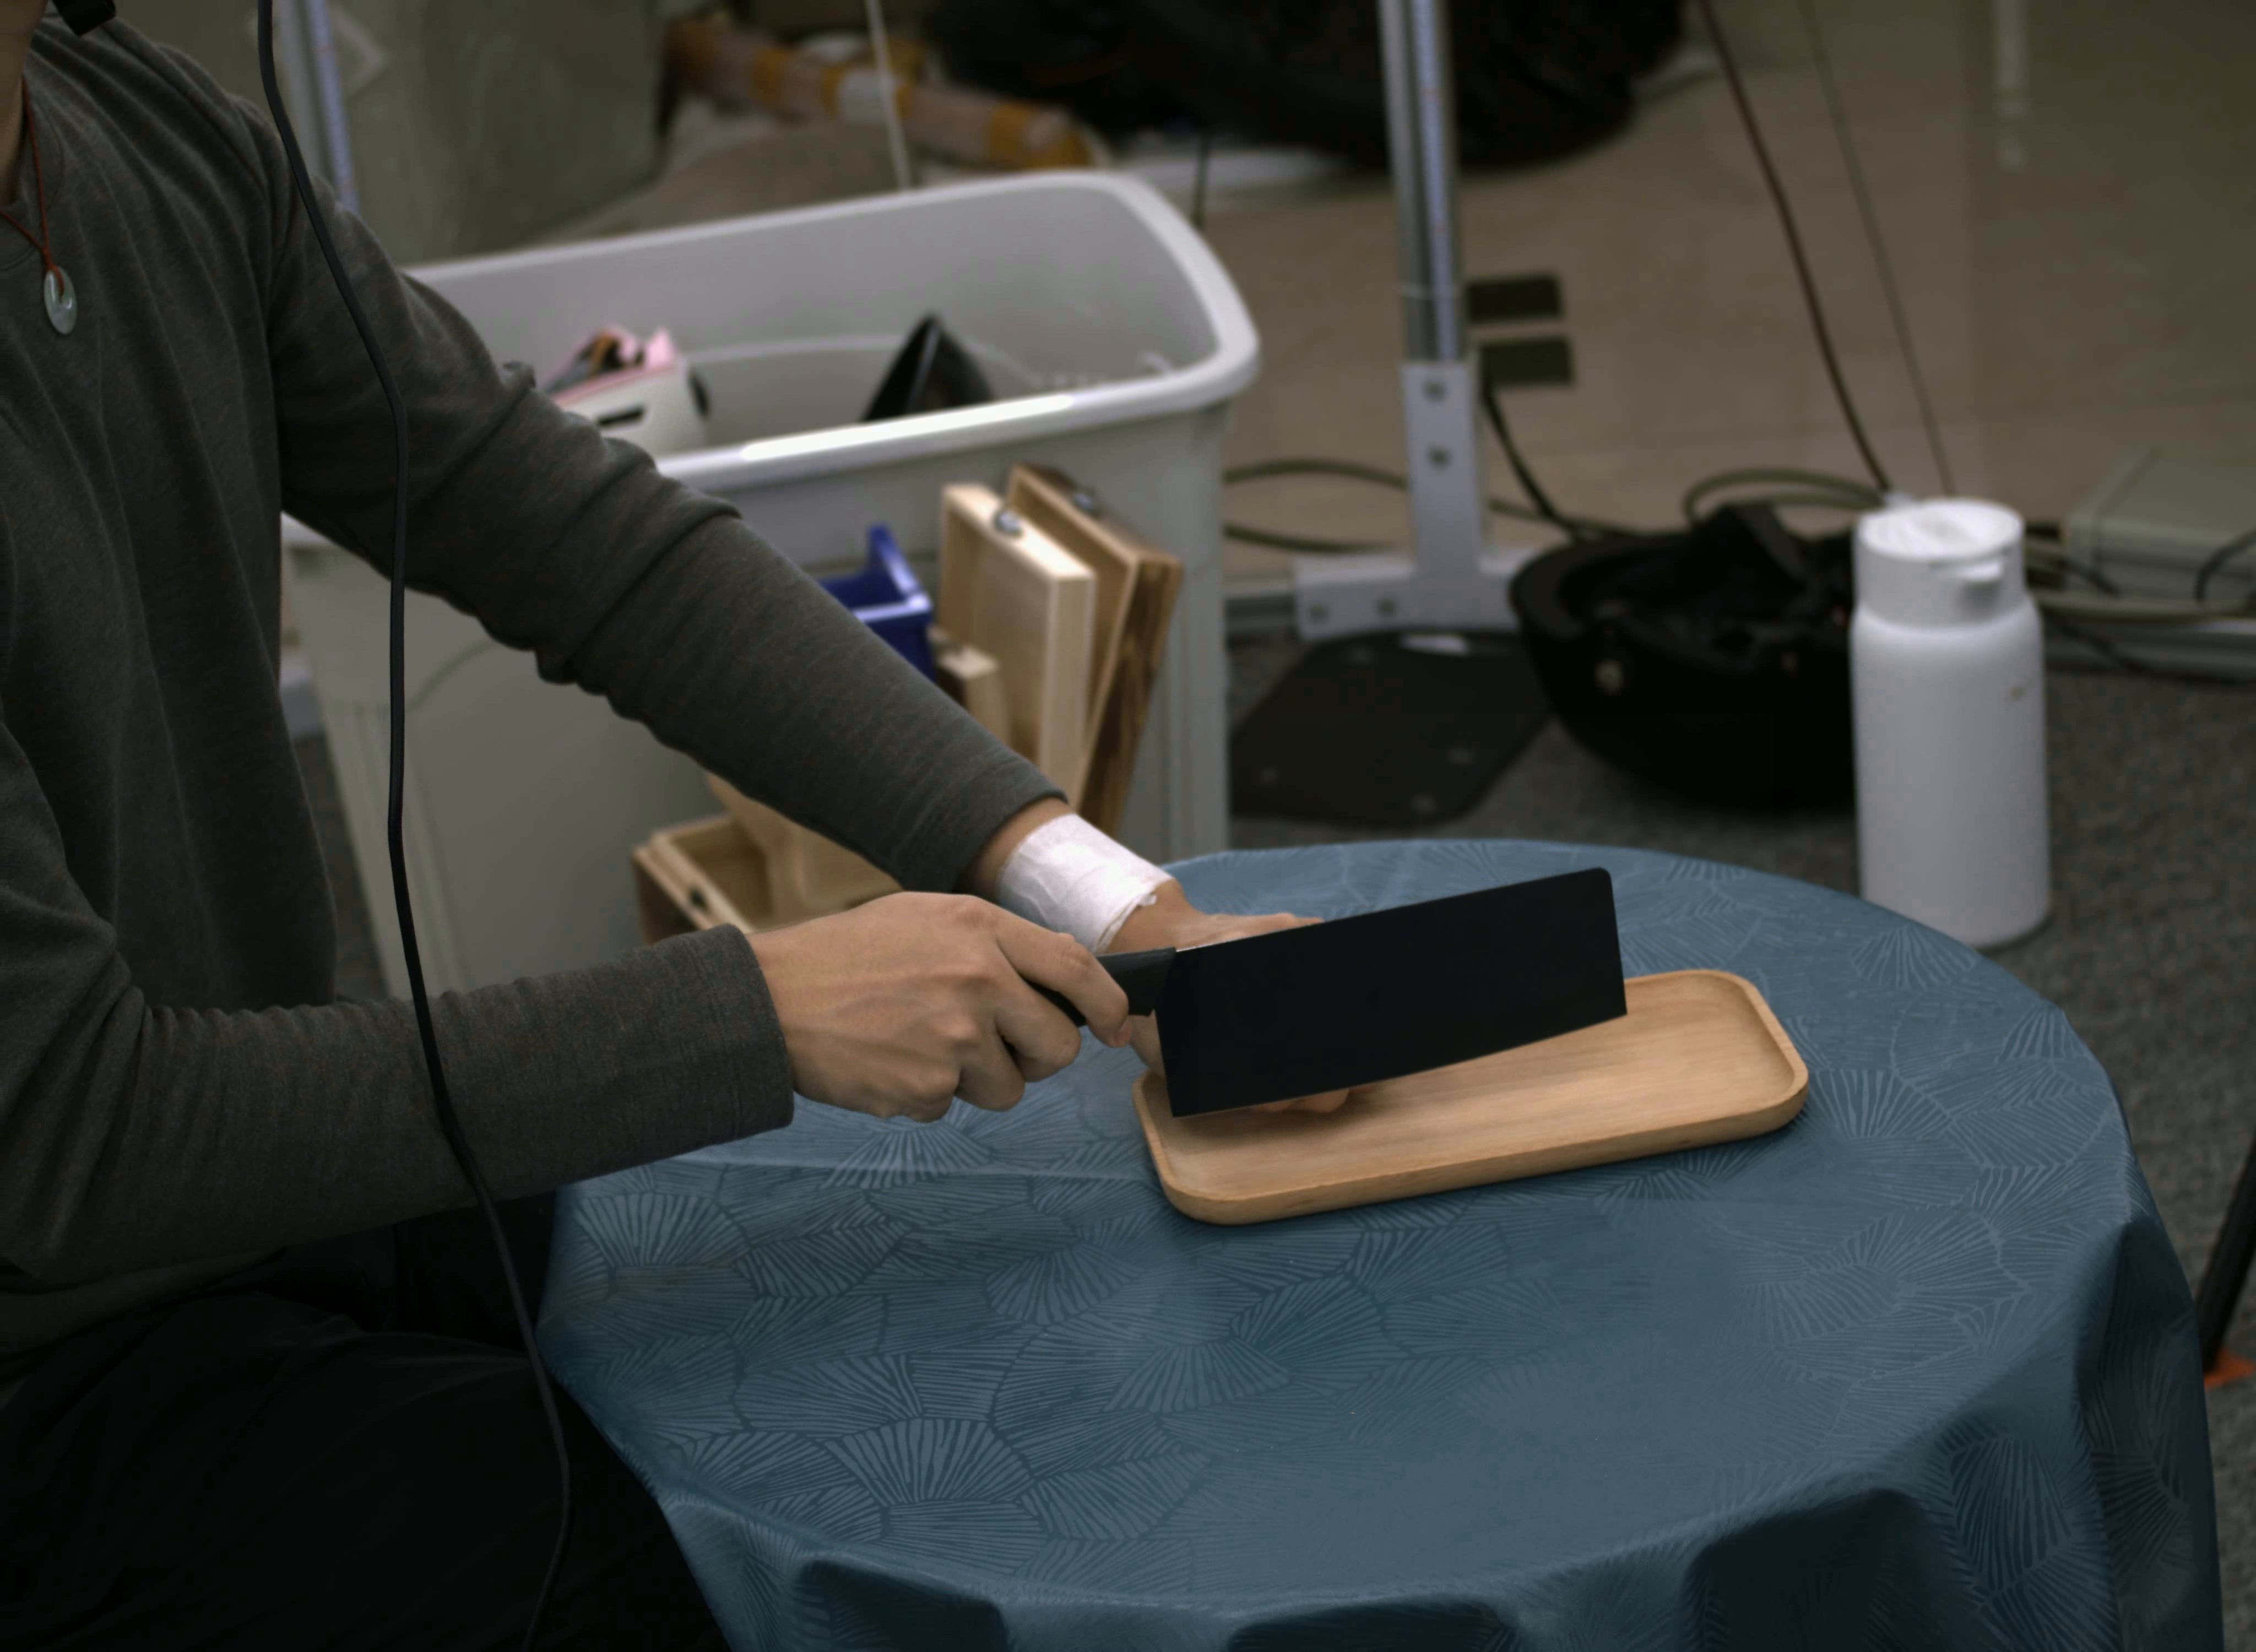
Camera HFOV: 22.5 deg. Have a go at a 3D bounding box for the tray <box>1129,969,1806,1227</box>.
[{"bbox_3d":[0.129,0.104,2.177,0.250,0.023,0.129,-10,22,-4],"label":"tray"}]

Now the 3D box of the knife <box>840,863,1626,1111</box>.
[{"bbox_3d":[0.040,0.069,2.132,0.302,0.082,0.020,-7,15,-9],"label":"knife"}]
